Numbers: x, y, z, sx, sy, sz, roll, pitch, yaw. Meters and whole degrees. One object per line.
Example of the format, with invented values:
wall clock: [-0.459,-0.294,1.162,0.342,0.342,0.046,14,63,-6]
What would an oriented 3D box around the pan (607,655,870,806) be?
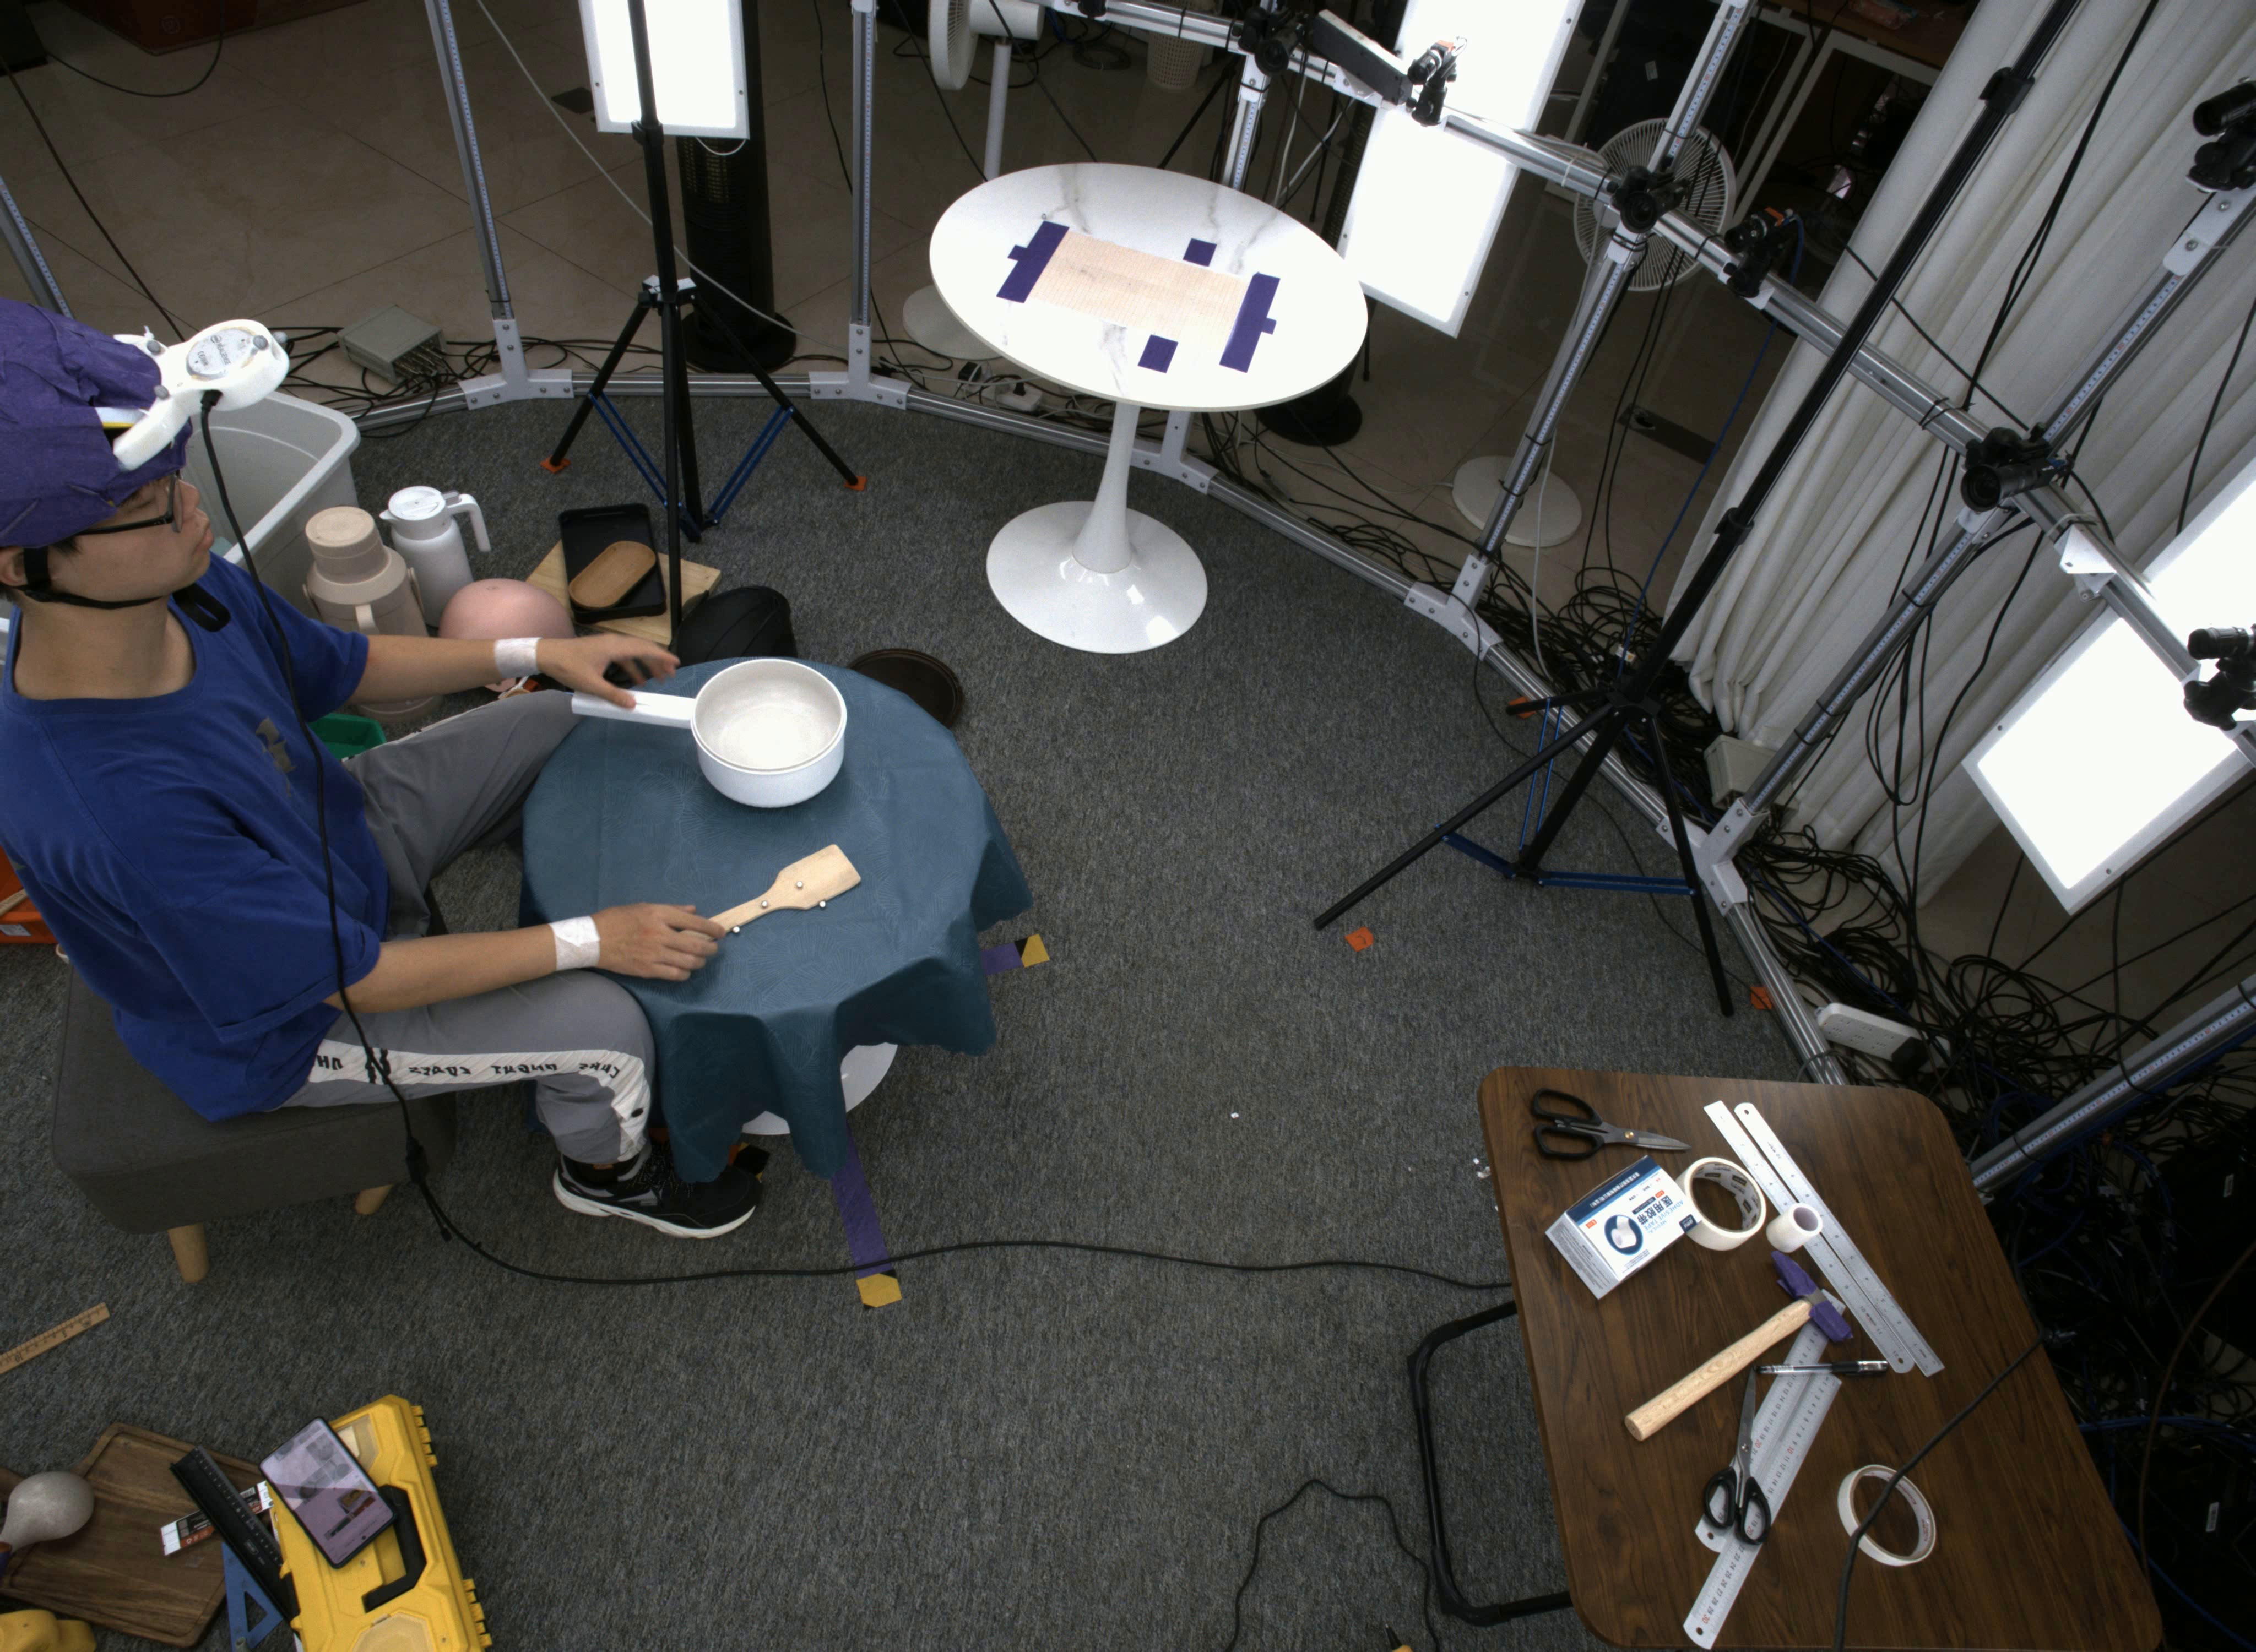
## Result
pan: [-0.527,-0.135,1.745,0.354,0.104,0.198,8,54,-8]

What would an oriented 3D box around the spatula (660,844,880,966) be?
spatula: [-0.455,0.104,1.643,0.294,0.011,0.070,-27,66,-30]
